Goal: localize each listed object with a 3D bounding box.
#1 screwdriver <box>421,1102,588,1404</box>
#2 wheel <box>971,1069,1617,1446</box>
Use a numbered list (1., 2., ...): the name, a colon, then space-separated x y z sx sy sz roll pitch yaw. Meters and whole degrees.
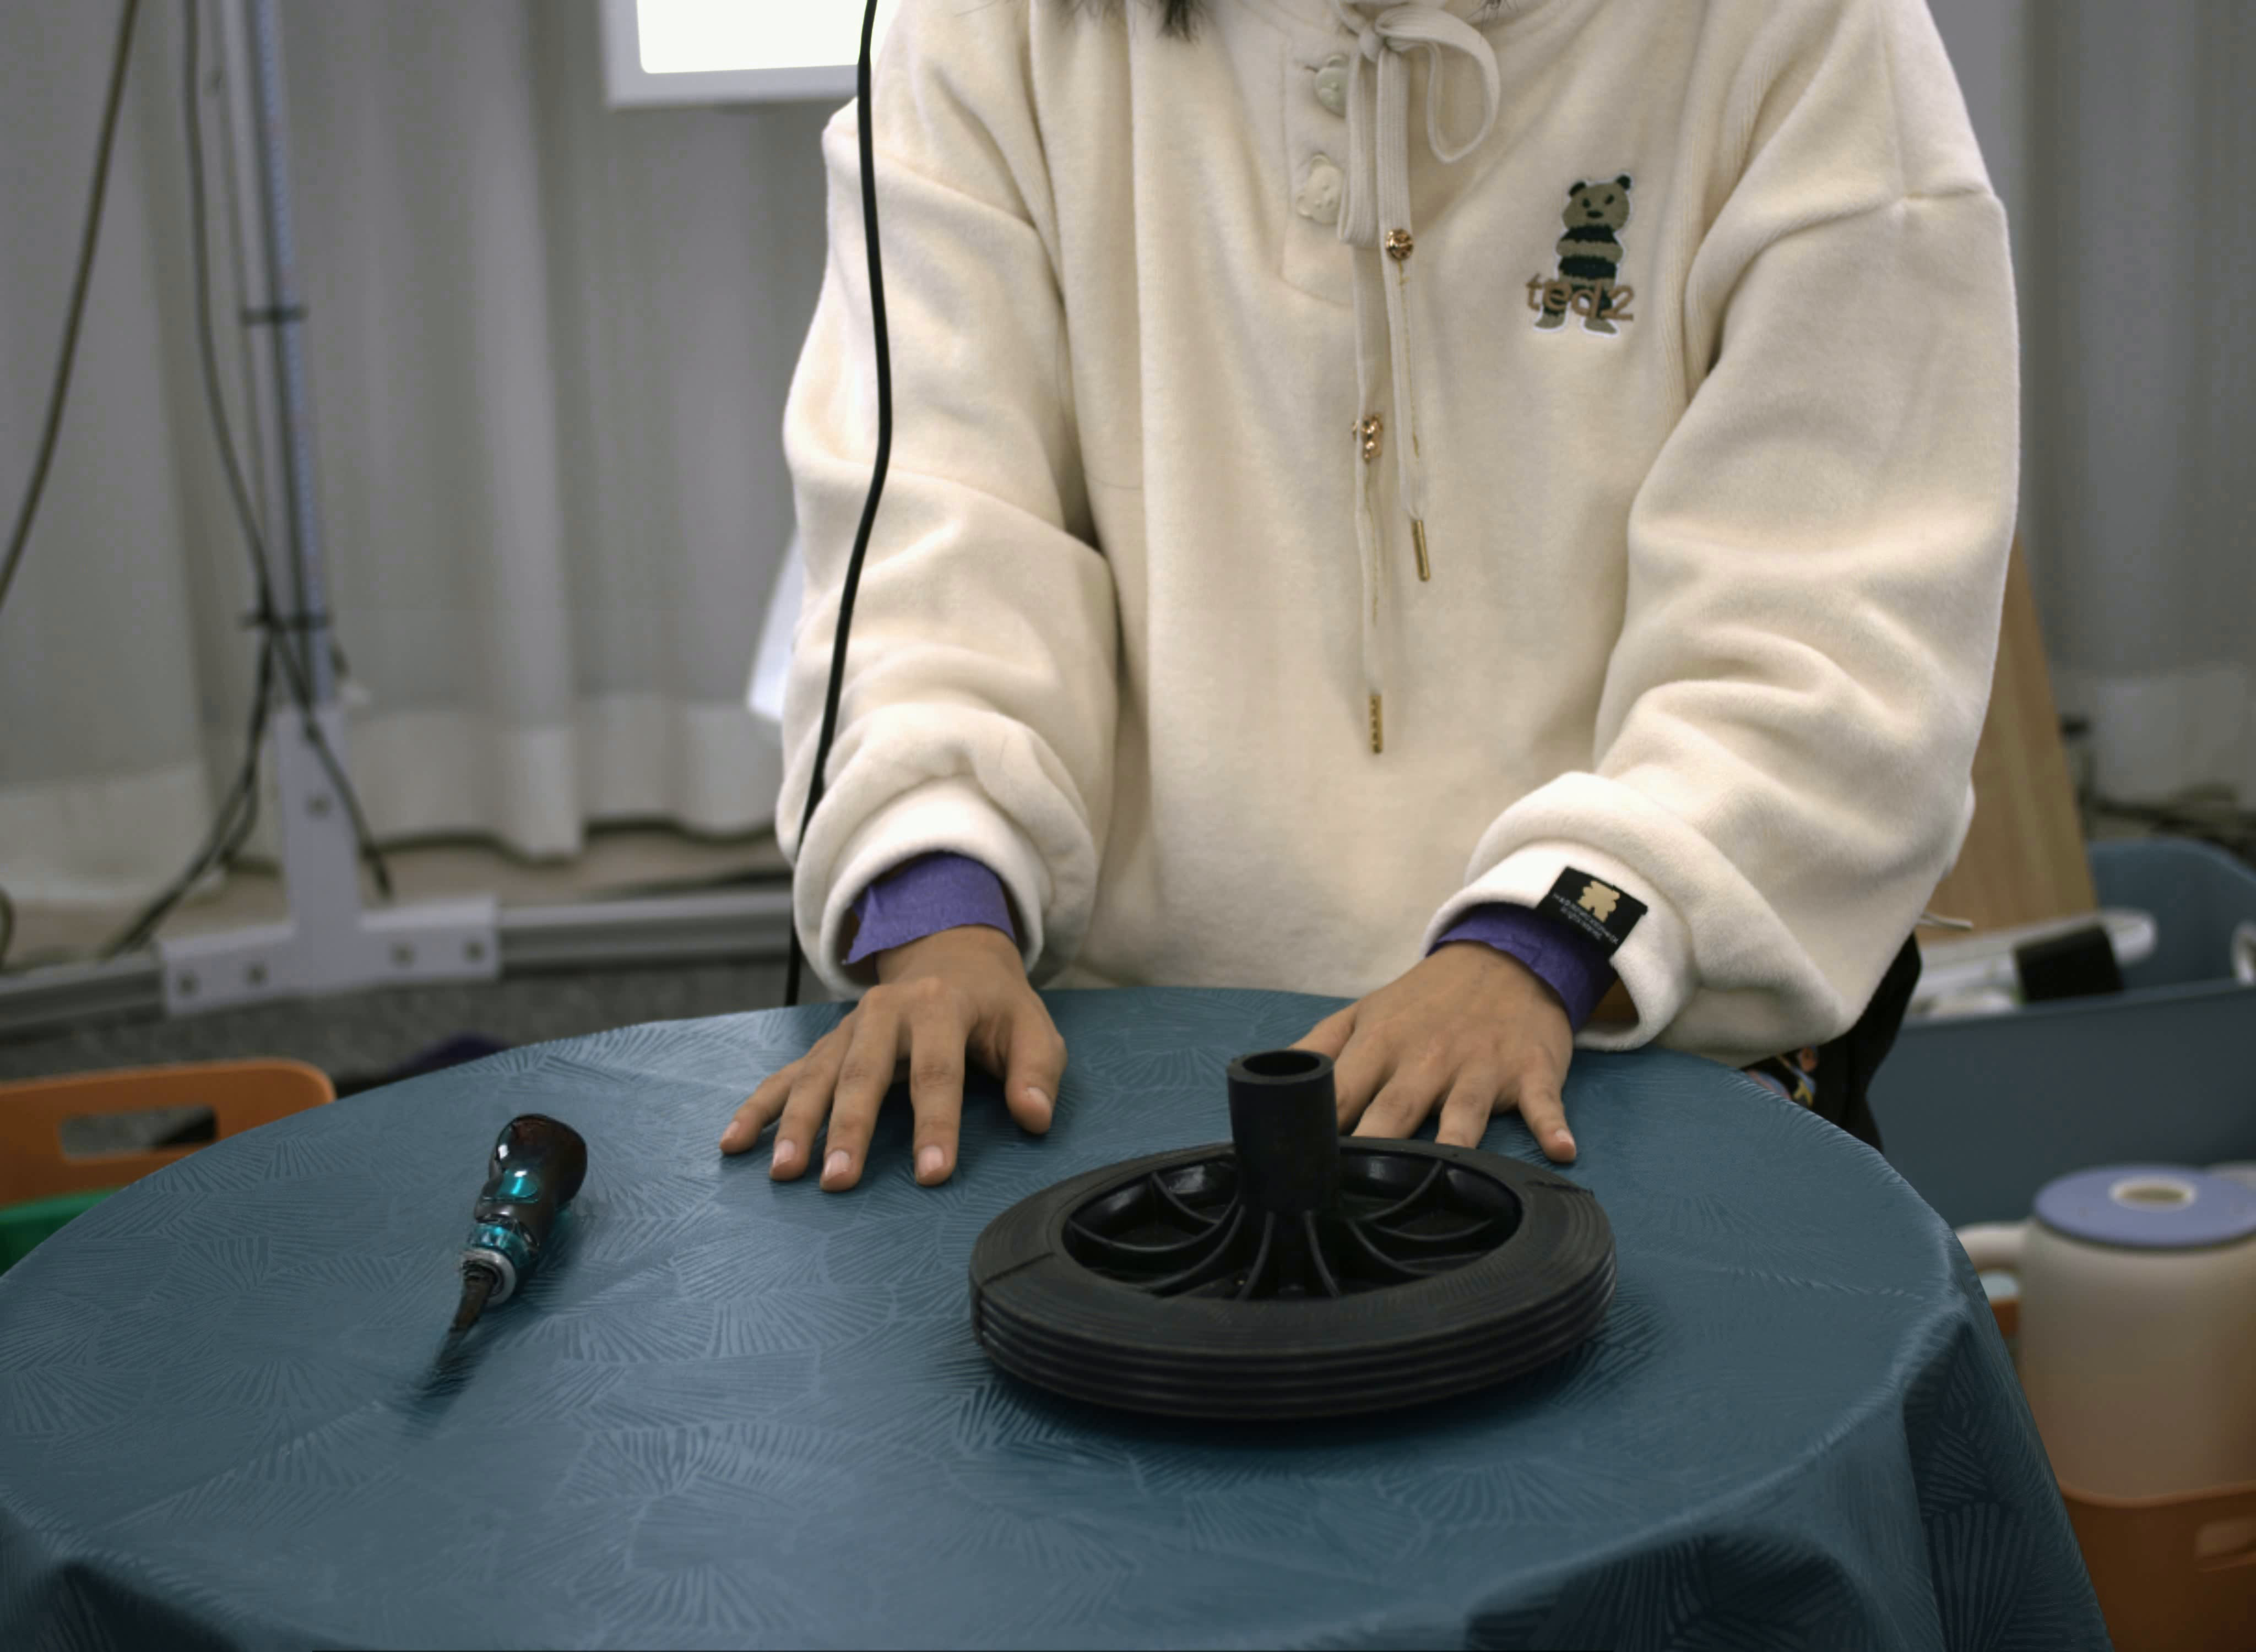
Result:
1. screwdriver: -0.192 0.131 1.649 0.033 0.033 0.191 -1 20 6
2. wheel: 0.046 0.112 1.570 0.187 0.079 0.190 2 18 20
